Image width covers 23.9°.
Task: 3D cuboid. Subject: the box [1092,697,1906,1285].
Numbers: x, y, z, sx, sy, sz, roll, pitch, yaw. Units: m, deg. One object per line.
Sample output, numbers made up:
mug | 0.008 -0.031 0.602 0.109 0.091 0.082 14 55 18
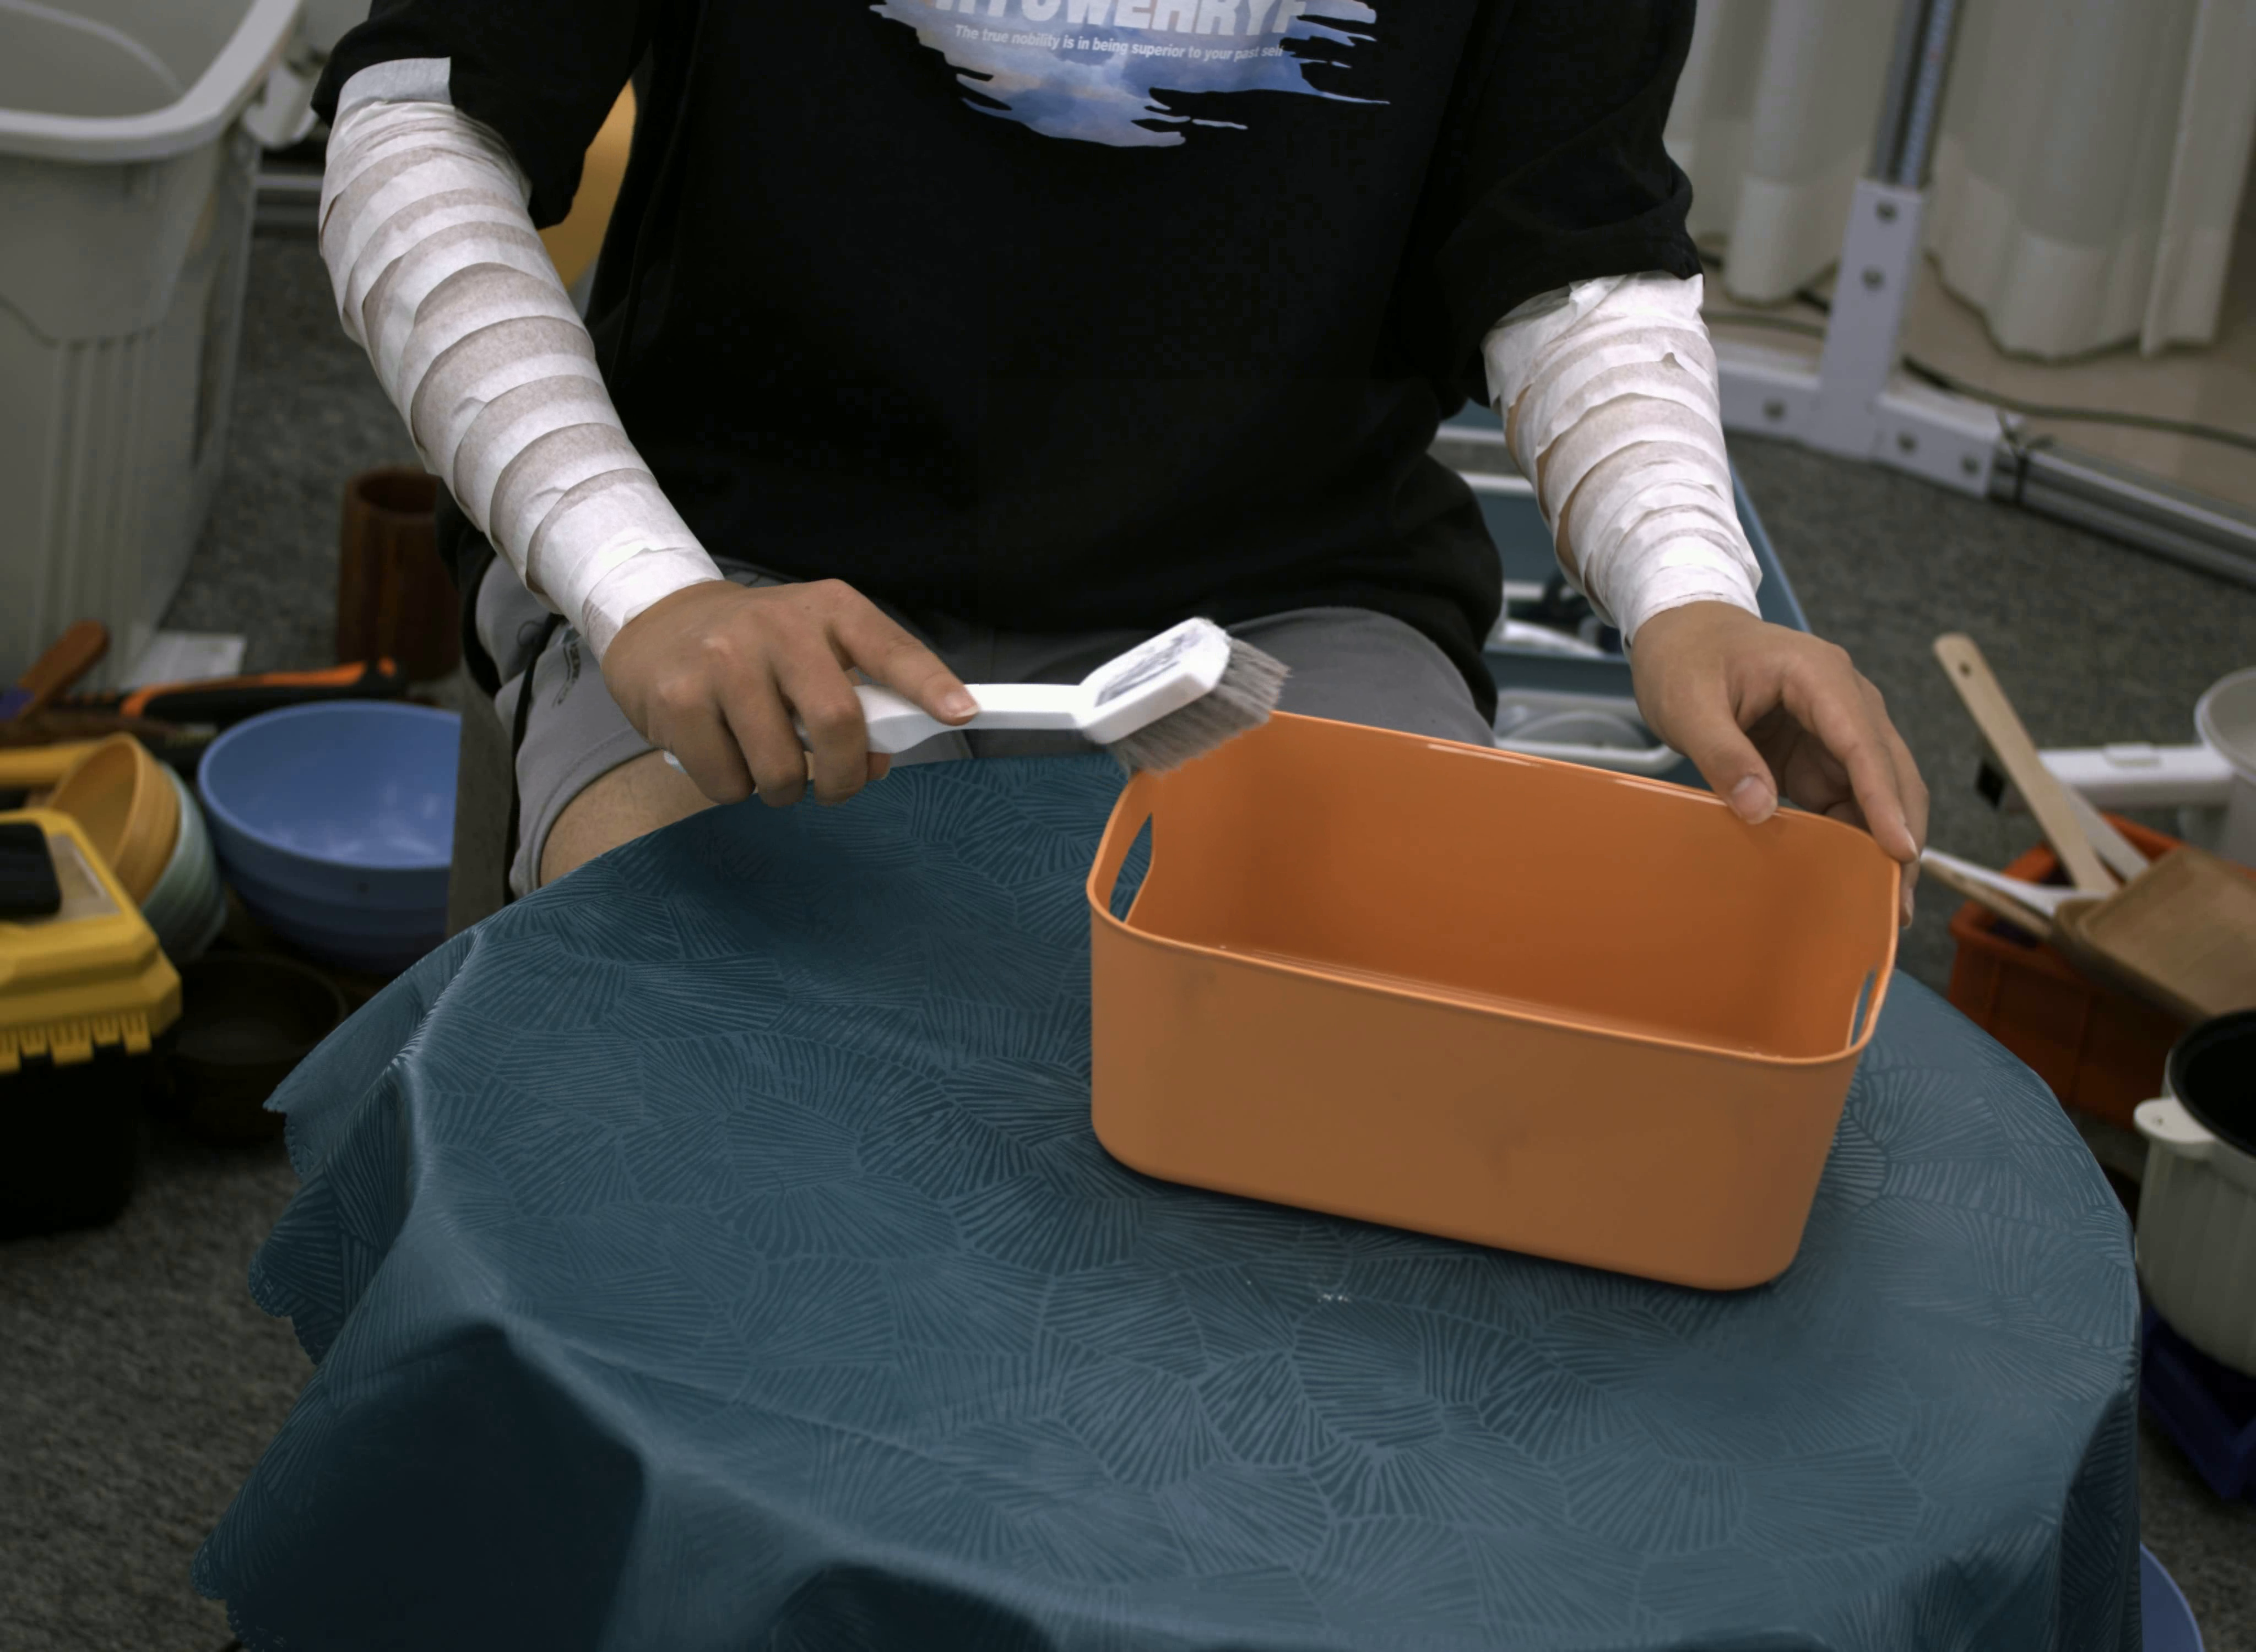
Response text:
box | 0.124 0.057 1.845 0.273 0.102 0.200 11 28 8

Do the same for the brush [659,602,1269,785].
brush | -0.059 -0.032 1.889 0.244 0.050 0.034 -12 42 31
